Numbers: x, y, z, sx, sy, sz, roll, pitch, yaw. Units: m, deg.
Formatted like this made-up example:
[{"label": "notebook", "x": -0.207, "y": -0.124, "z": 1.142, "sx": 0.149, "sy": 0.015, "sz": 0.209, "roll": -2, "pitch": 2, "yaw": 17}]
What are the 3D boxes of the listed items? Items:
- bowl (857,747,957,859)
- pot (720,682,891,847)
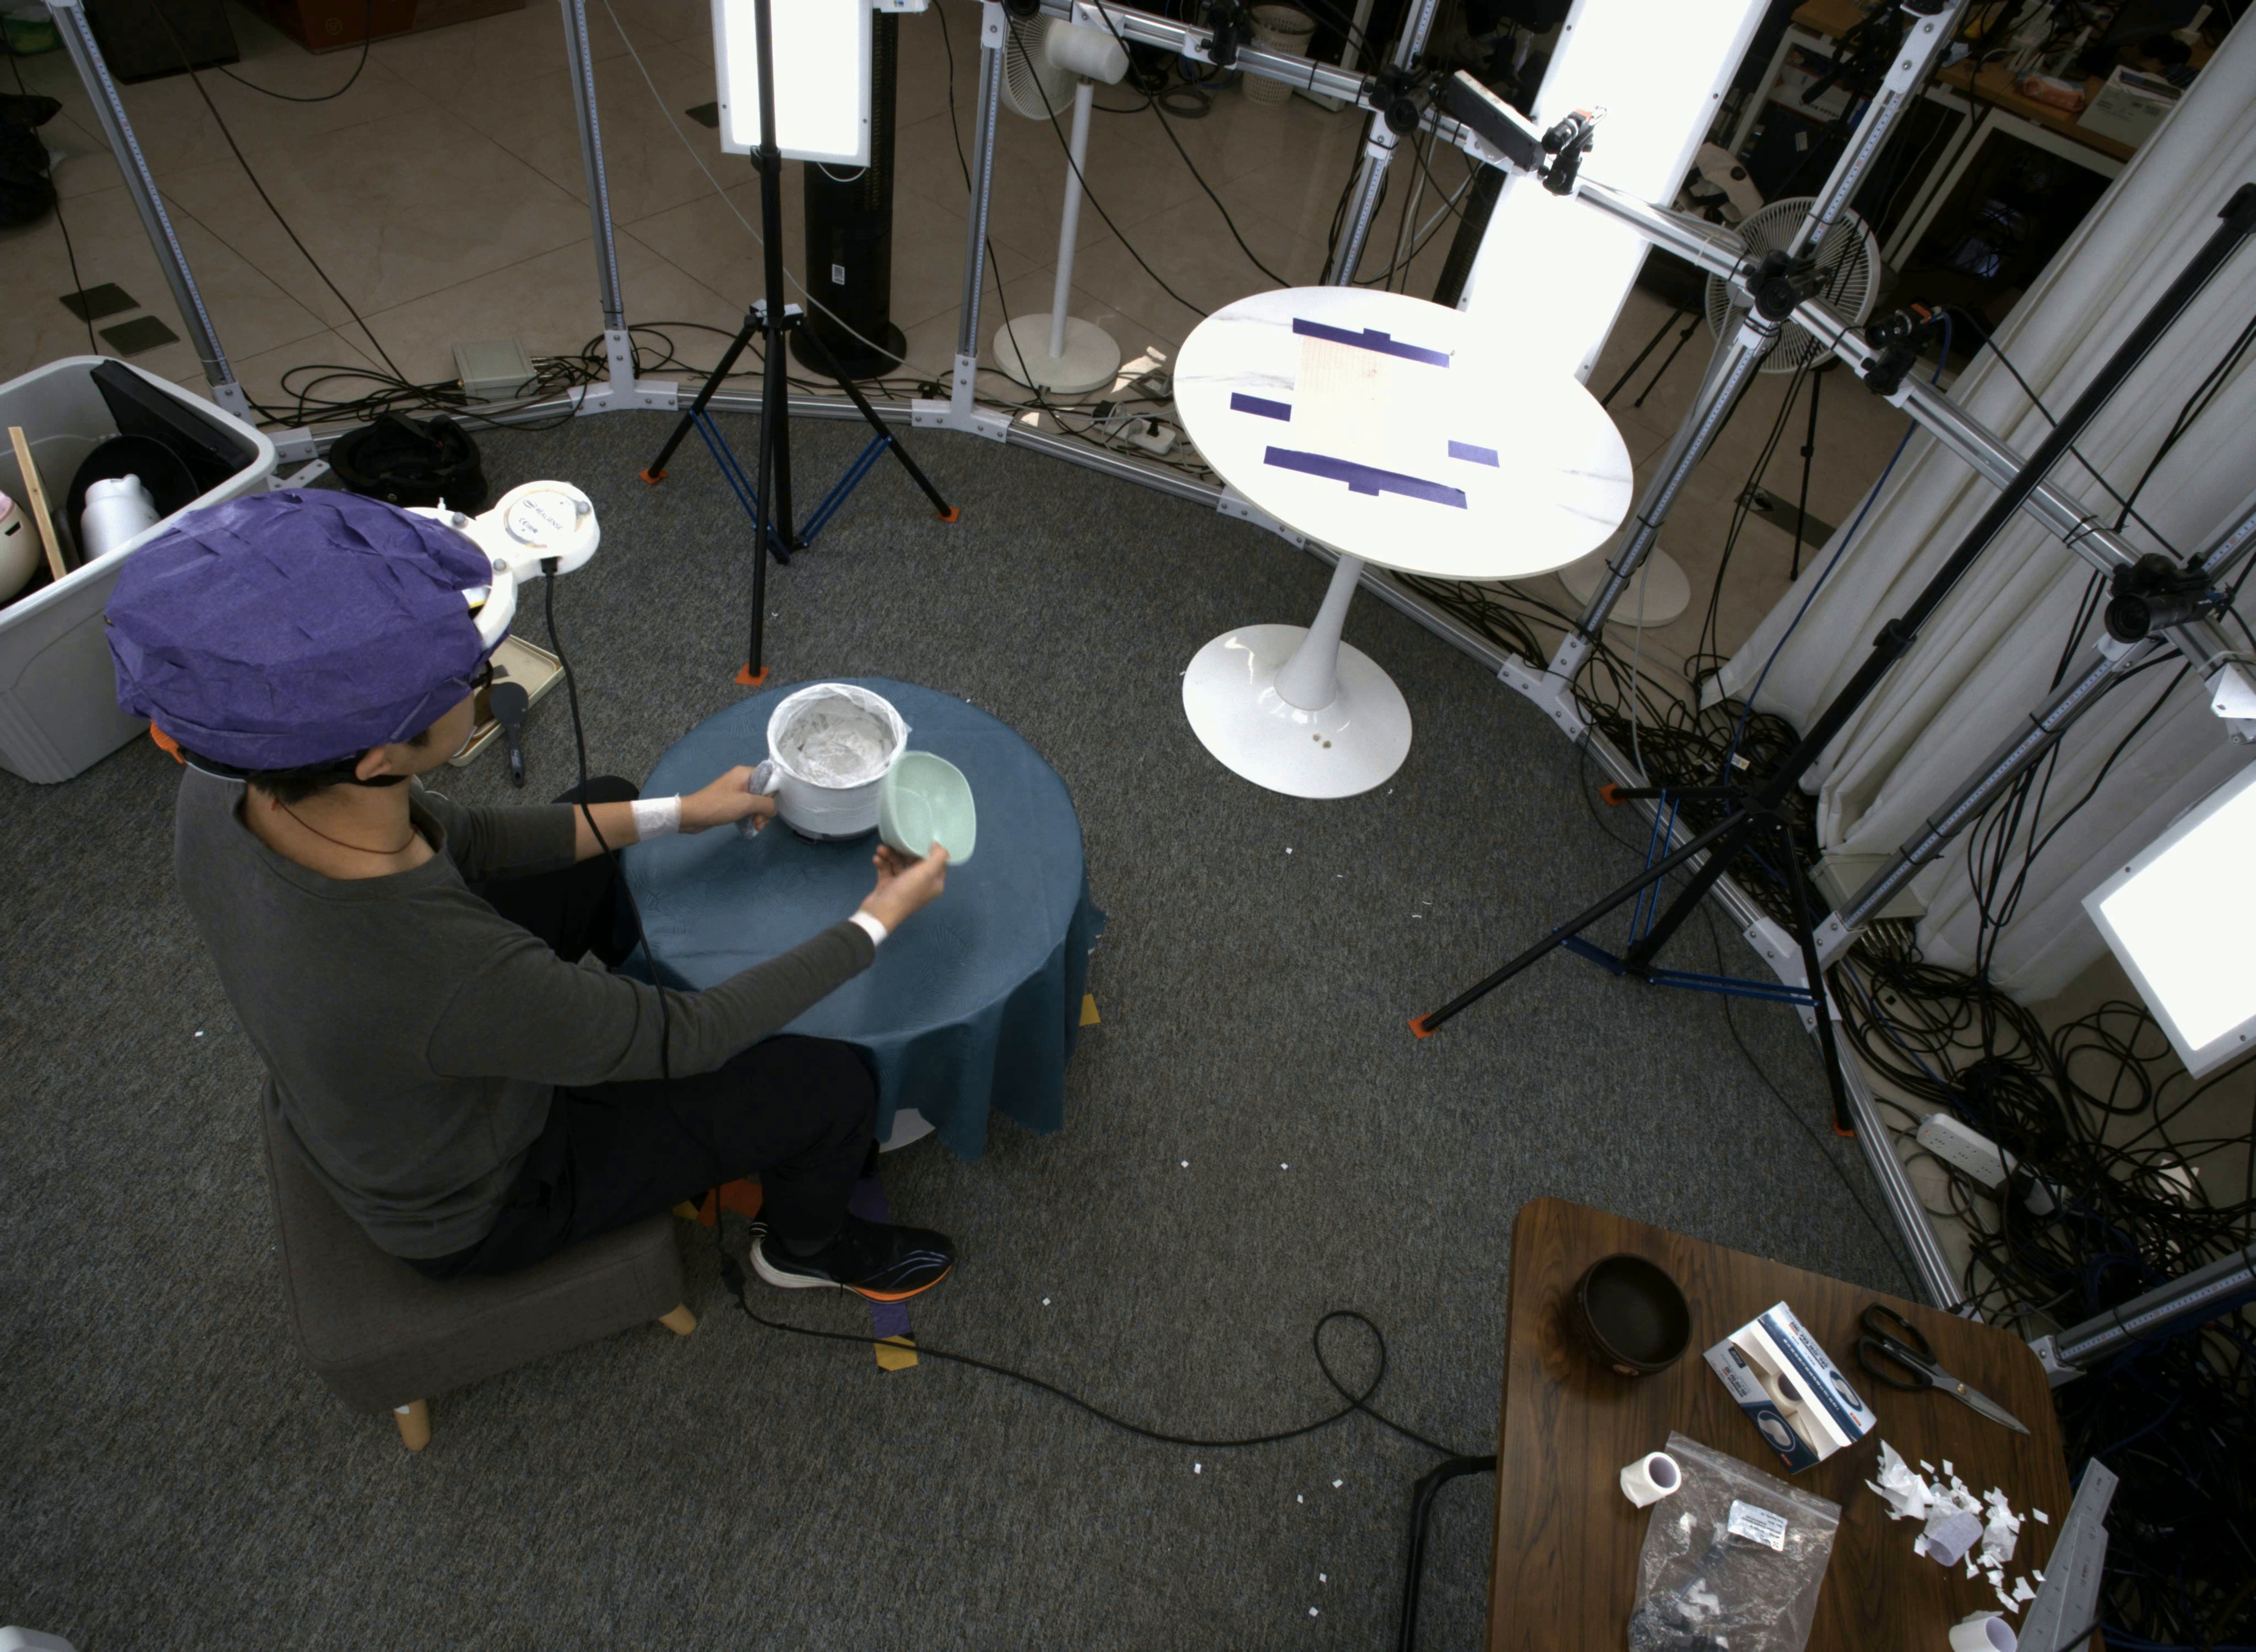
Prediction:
[{"label": "bowl", "x": -0.280, "y": -0.019, "z": 1.587, "sx": 0.156, "sy": 0.057, "sz": 0.149, "roll": 31, "pitch": 48, "yaw": -39}, {"label": "pot", "x": -0.425, "y": -0.067, "z": 1.692, "sx": 0.234, "sy": 0.139, "sz": 0.175, "roll": -32, "pitch": 67, "yaw": -32}]
